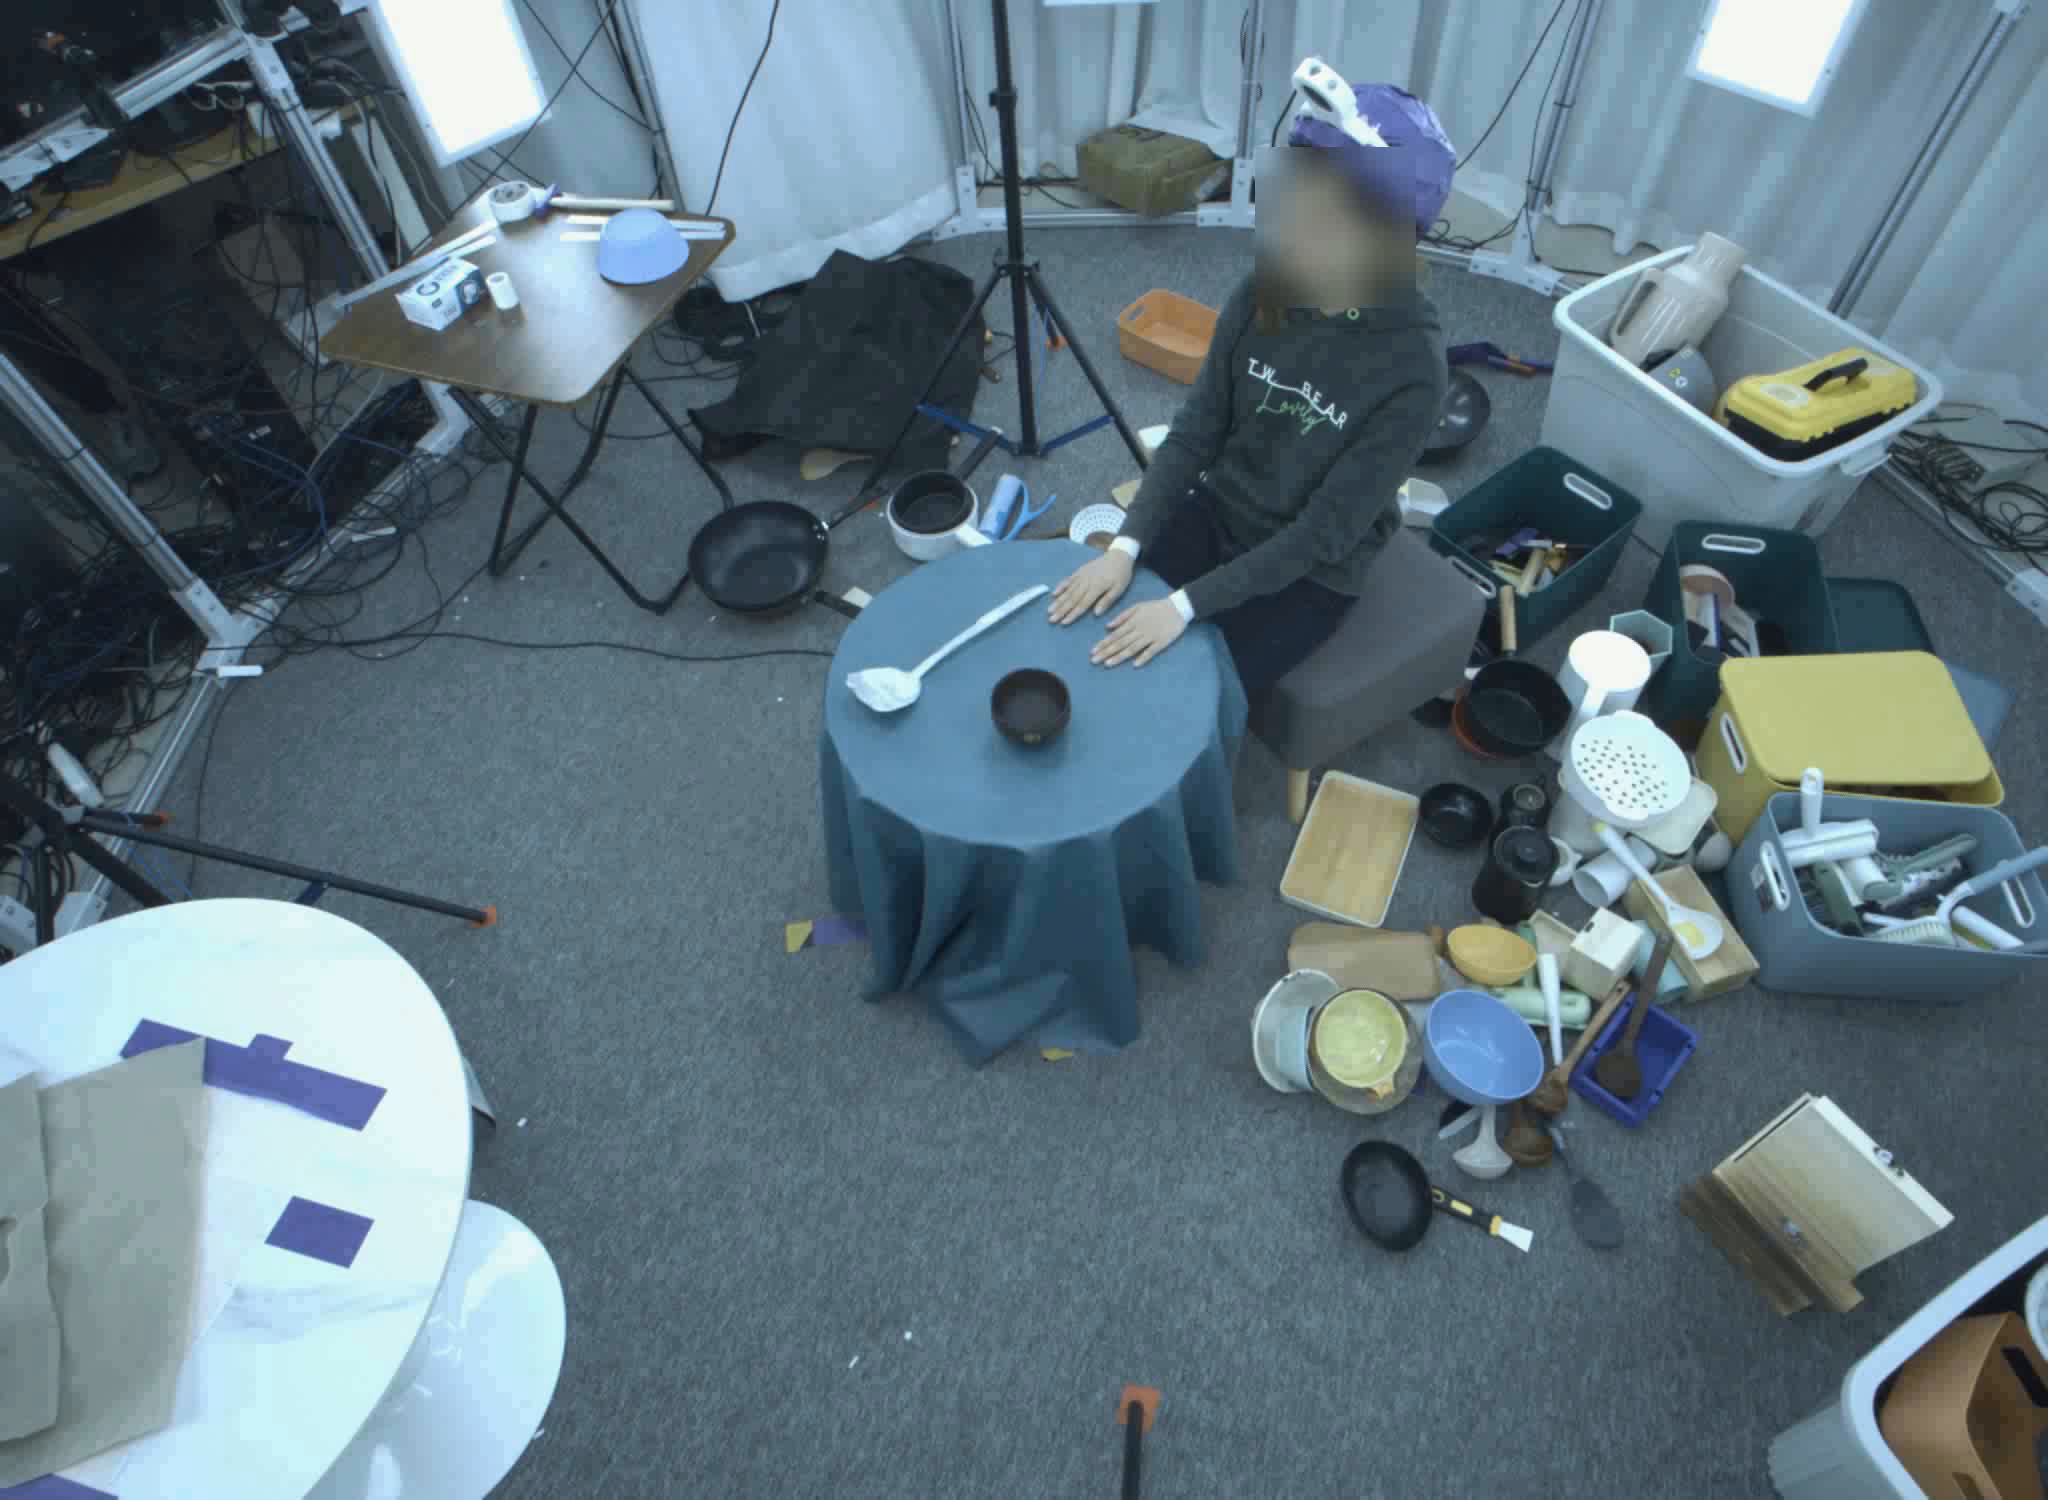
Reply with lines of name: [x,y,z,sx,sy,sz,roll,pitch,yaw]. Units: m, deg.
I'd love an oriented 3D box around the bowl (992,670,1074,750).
bowl: [0.013,-0.050,1.789,0.118,0.070,0.117,0,56,1]

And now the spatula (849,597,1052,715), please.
spatula: [-0.103,-0.160,1.889,0.367,0.045,0.097,-36,59,-21]
